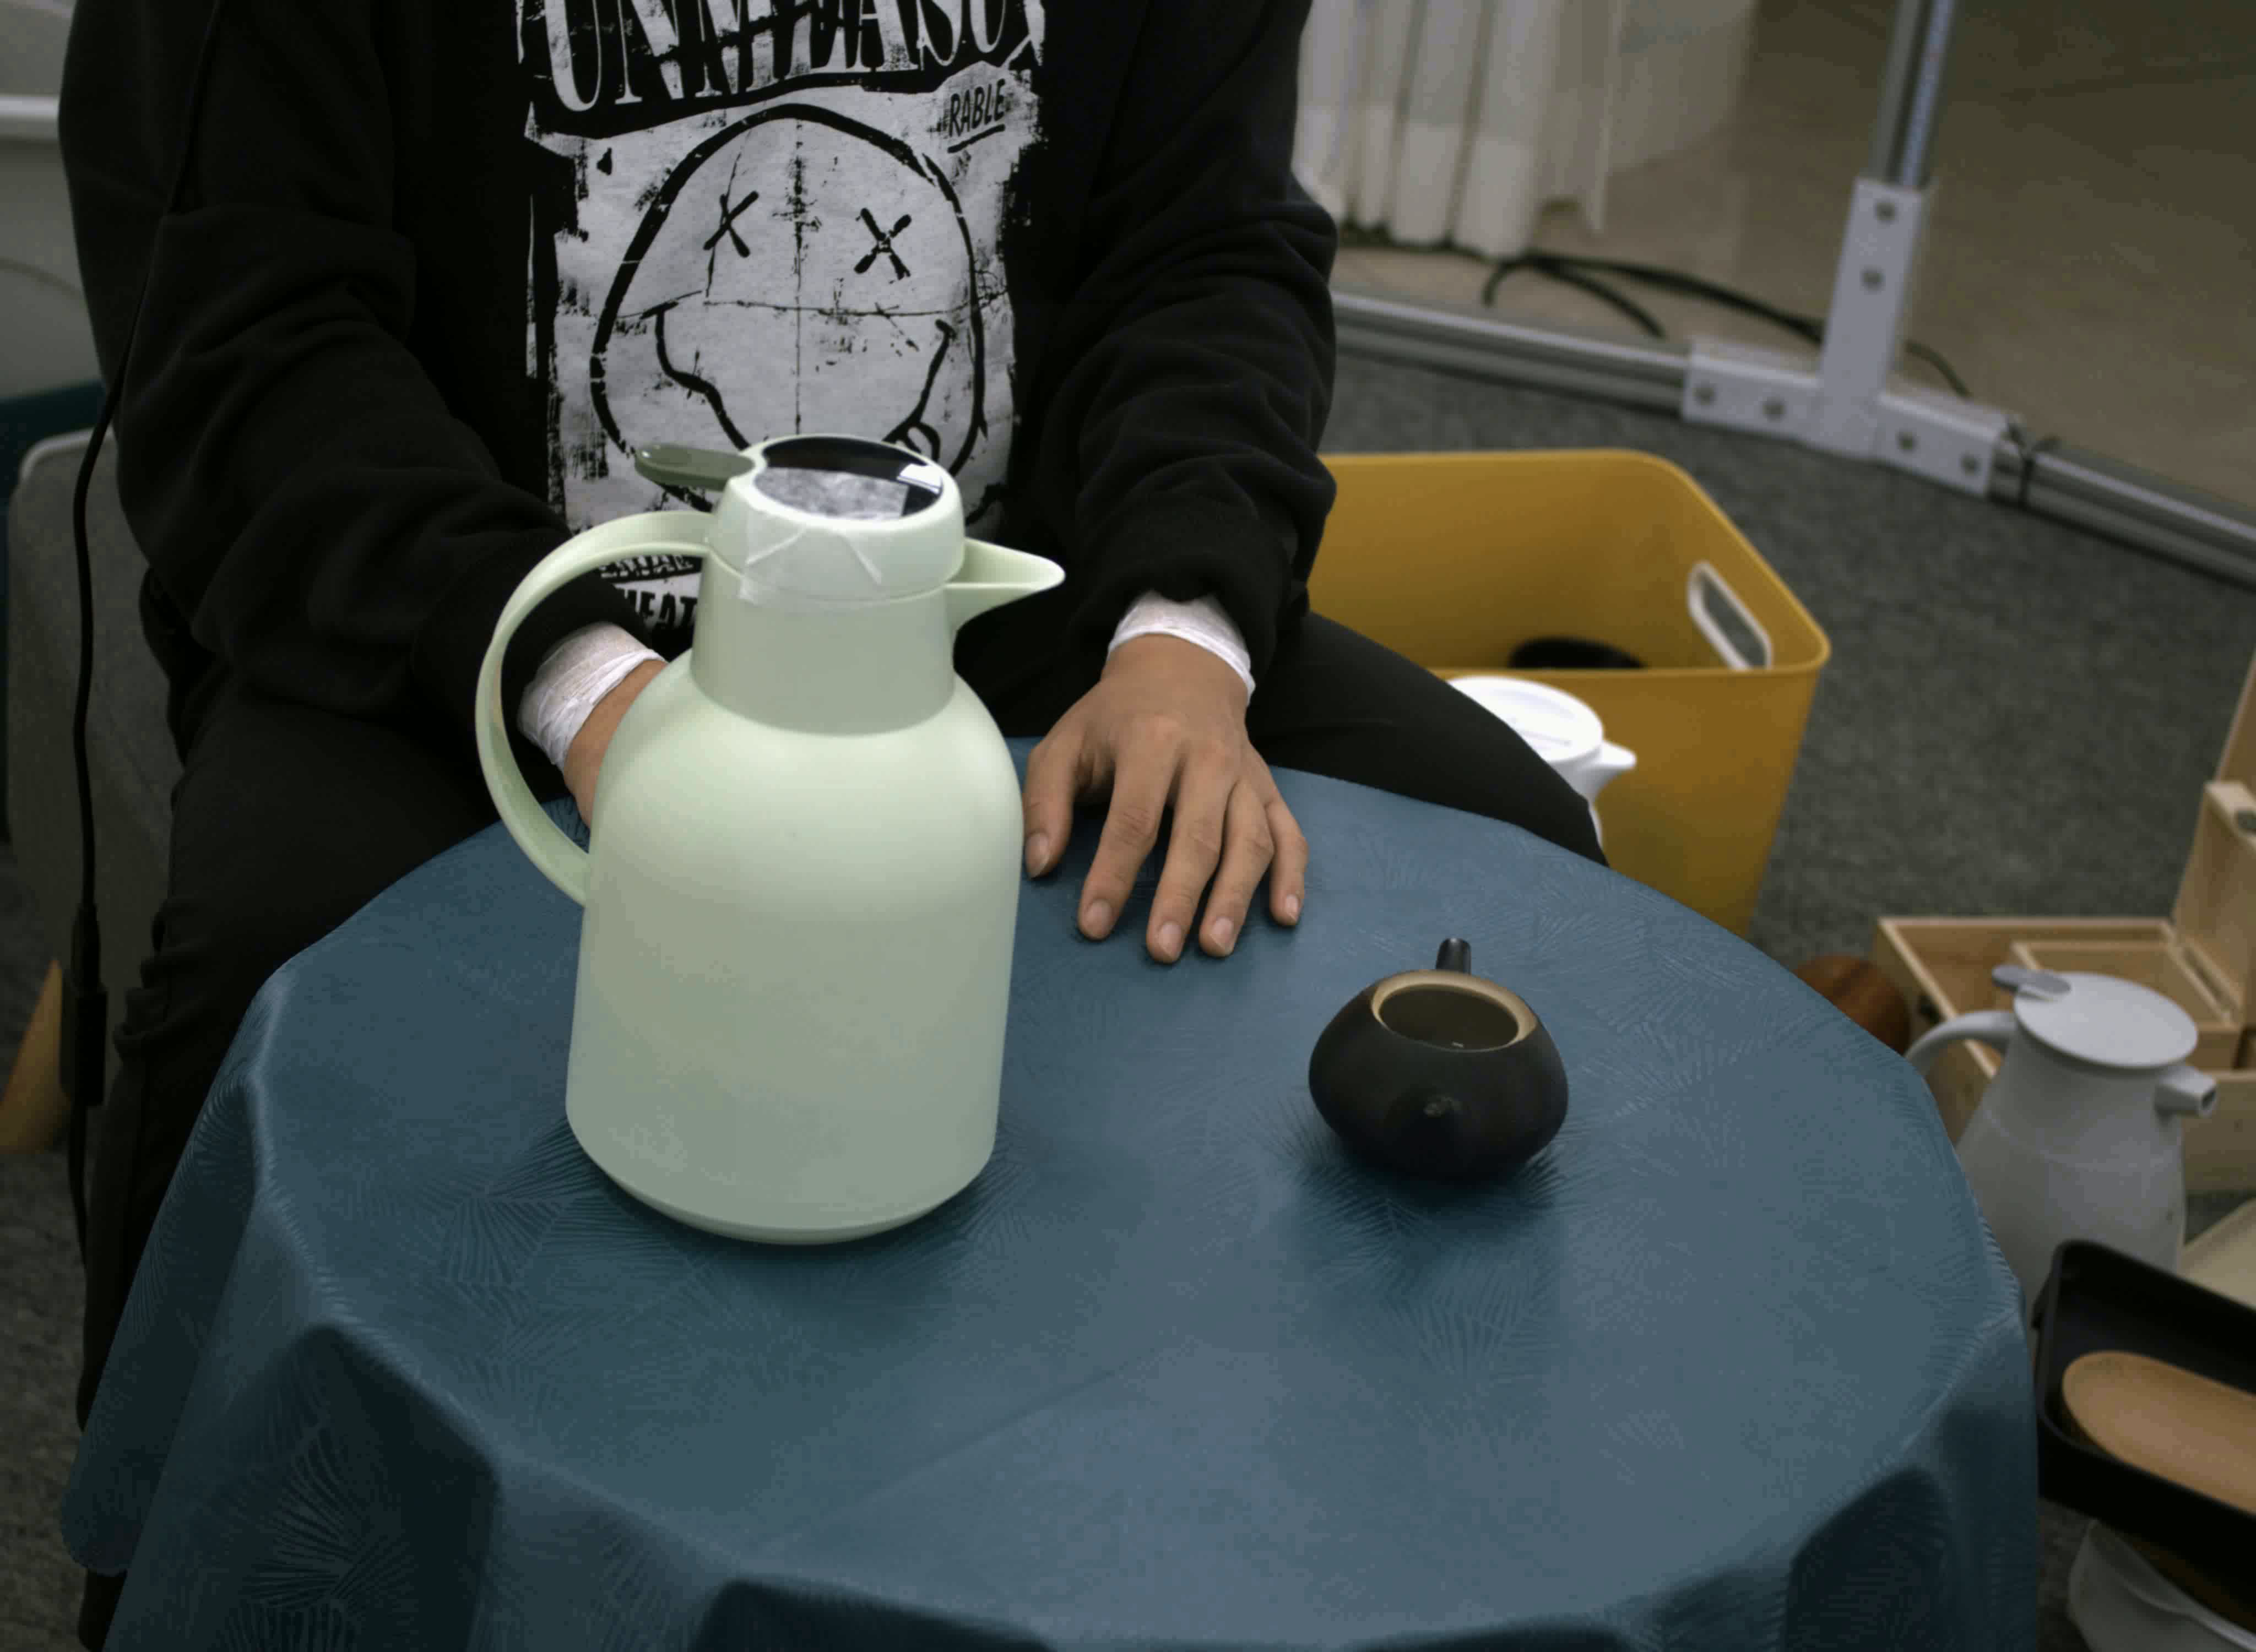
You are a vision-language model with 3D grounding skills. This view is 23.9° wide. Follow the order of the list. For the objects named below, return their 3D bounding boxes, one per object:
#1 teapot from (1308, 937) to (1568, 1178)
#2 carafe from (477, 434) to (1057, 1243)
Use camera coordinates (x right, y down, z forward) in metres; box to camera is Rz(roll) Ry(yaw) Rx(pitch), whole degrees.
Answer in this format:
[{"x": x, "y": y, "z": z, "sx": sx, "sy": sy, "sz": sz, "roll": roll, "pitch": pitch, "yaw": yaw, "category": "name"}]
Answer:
[{"x": 0.108, "y": 0.086, "z": 1.845, "sx": 0.091, "sy": 0.053, "sz": 0.134, "roll": 10, "pitch": 27, "yaw": 3, "category": "teapot"}, {"x": -0.119, "y": -0.002, "z": 1.750, "sx": 0.186, "sy": 0.256, "sz": 0.145, "roll": 4, "pitch": 27, "yaw": 1, "category": "carafe"}]
